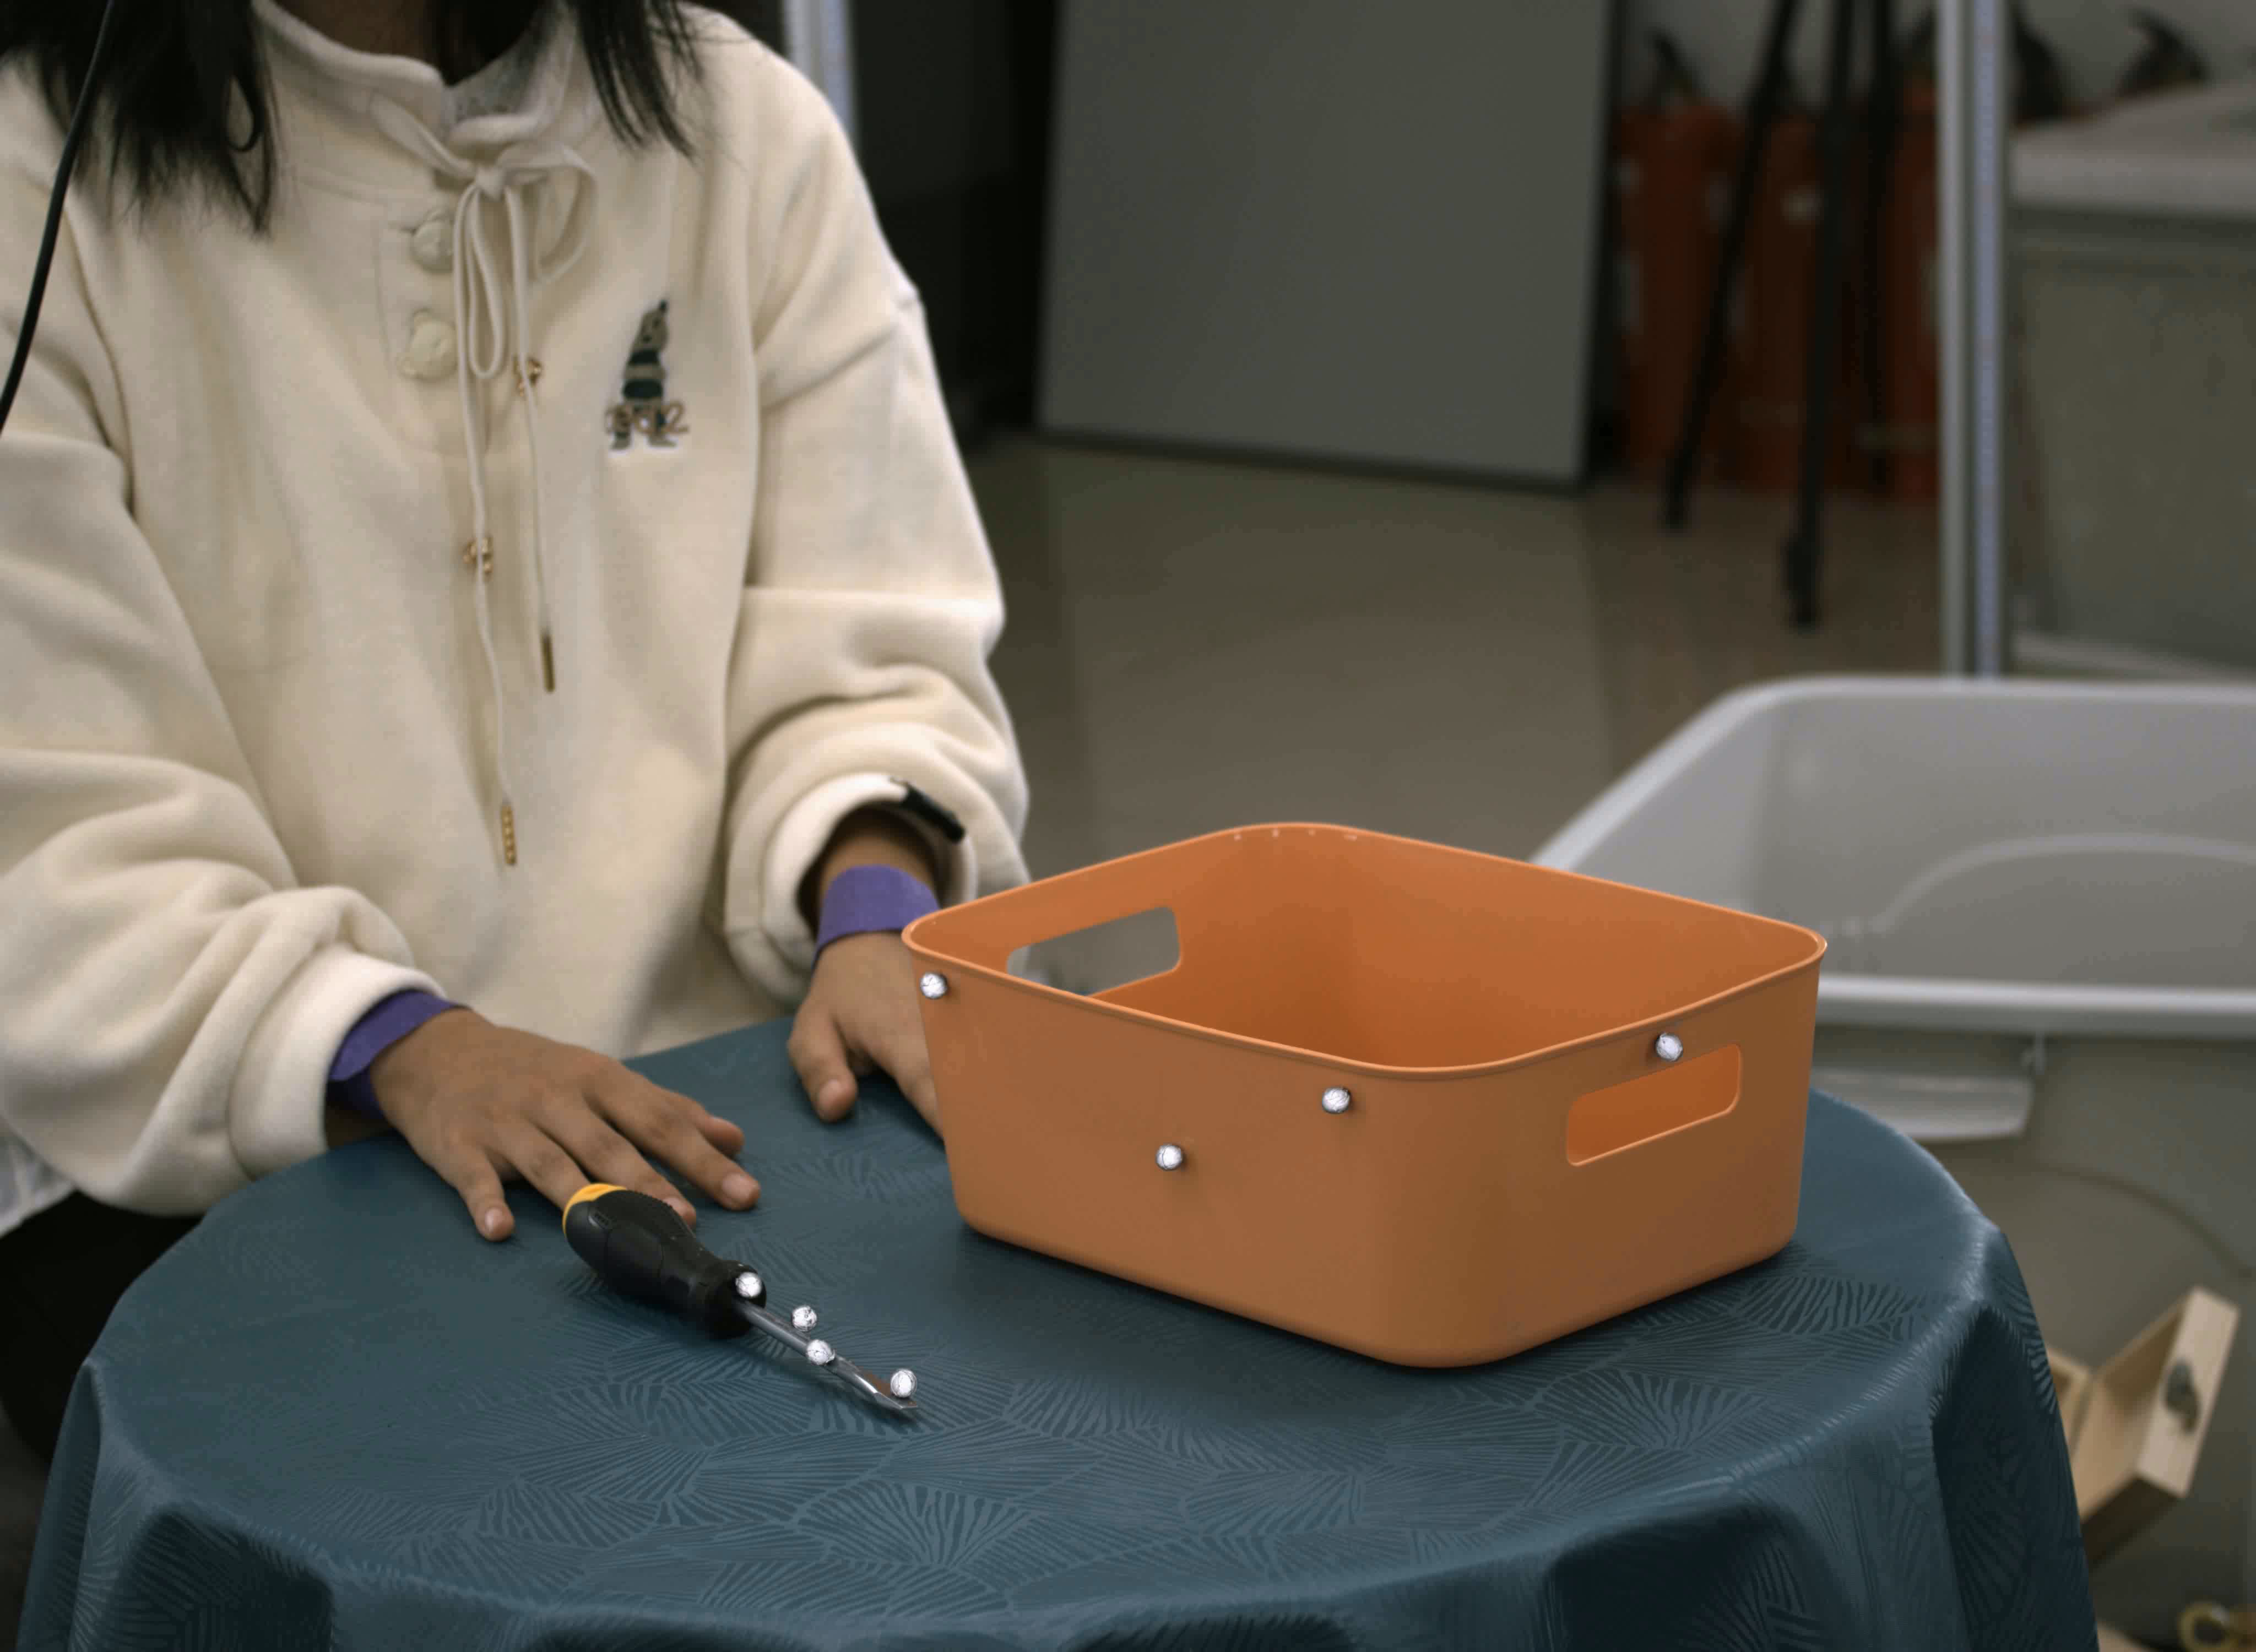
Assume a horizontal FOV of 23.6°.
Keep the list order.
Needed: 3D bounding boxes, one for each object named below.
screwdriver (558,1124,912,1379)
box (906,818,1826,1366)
[{"bbox_3d":[-0.117,0.133,1.660,0.031,0.032,0.200,-13,25,-35],"label":"screwdriver"},{"bbox_3d":[0.075,0.080,1.695,0.195,0.103,0.276,-16,18,-38],"label":"box"}]
